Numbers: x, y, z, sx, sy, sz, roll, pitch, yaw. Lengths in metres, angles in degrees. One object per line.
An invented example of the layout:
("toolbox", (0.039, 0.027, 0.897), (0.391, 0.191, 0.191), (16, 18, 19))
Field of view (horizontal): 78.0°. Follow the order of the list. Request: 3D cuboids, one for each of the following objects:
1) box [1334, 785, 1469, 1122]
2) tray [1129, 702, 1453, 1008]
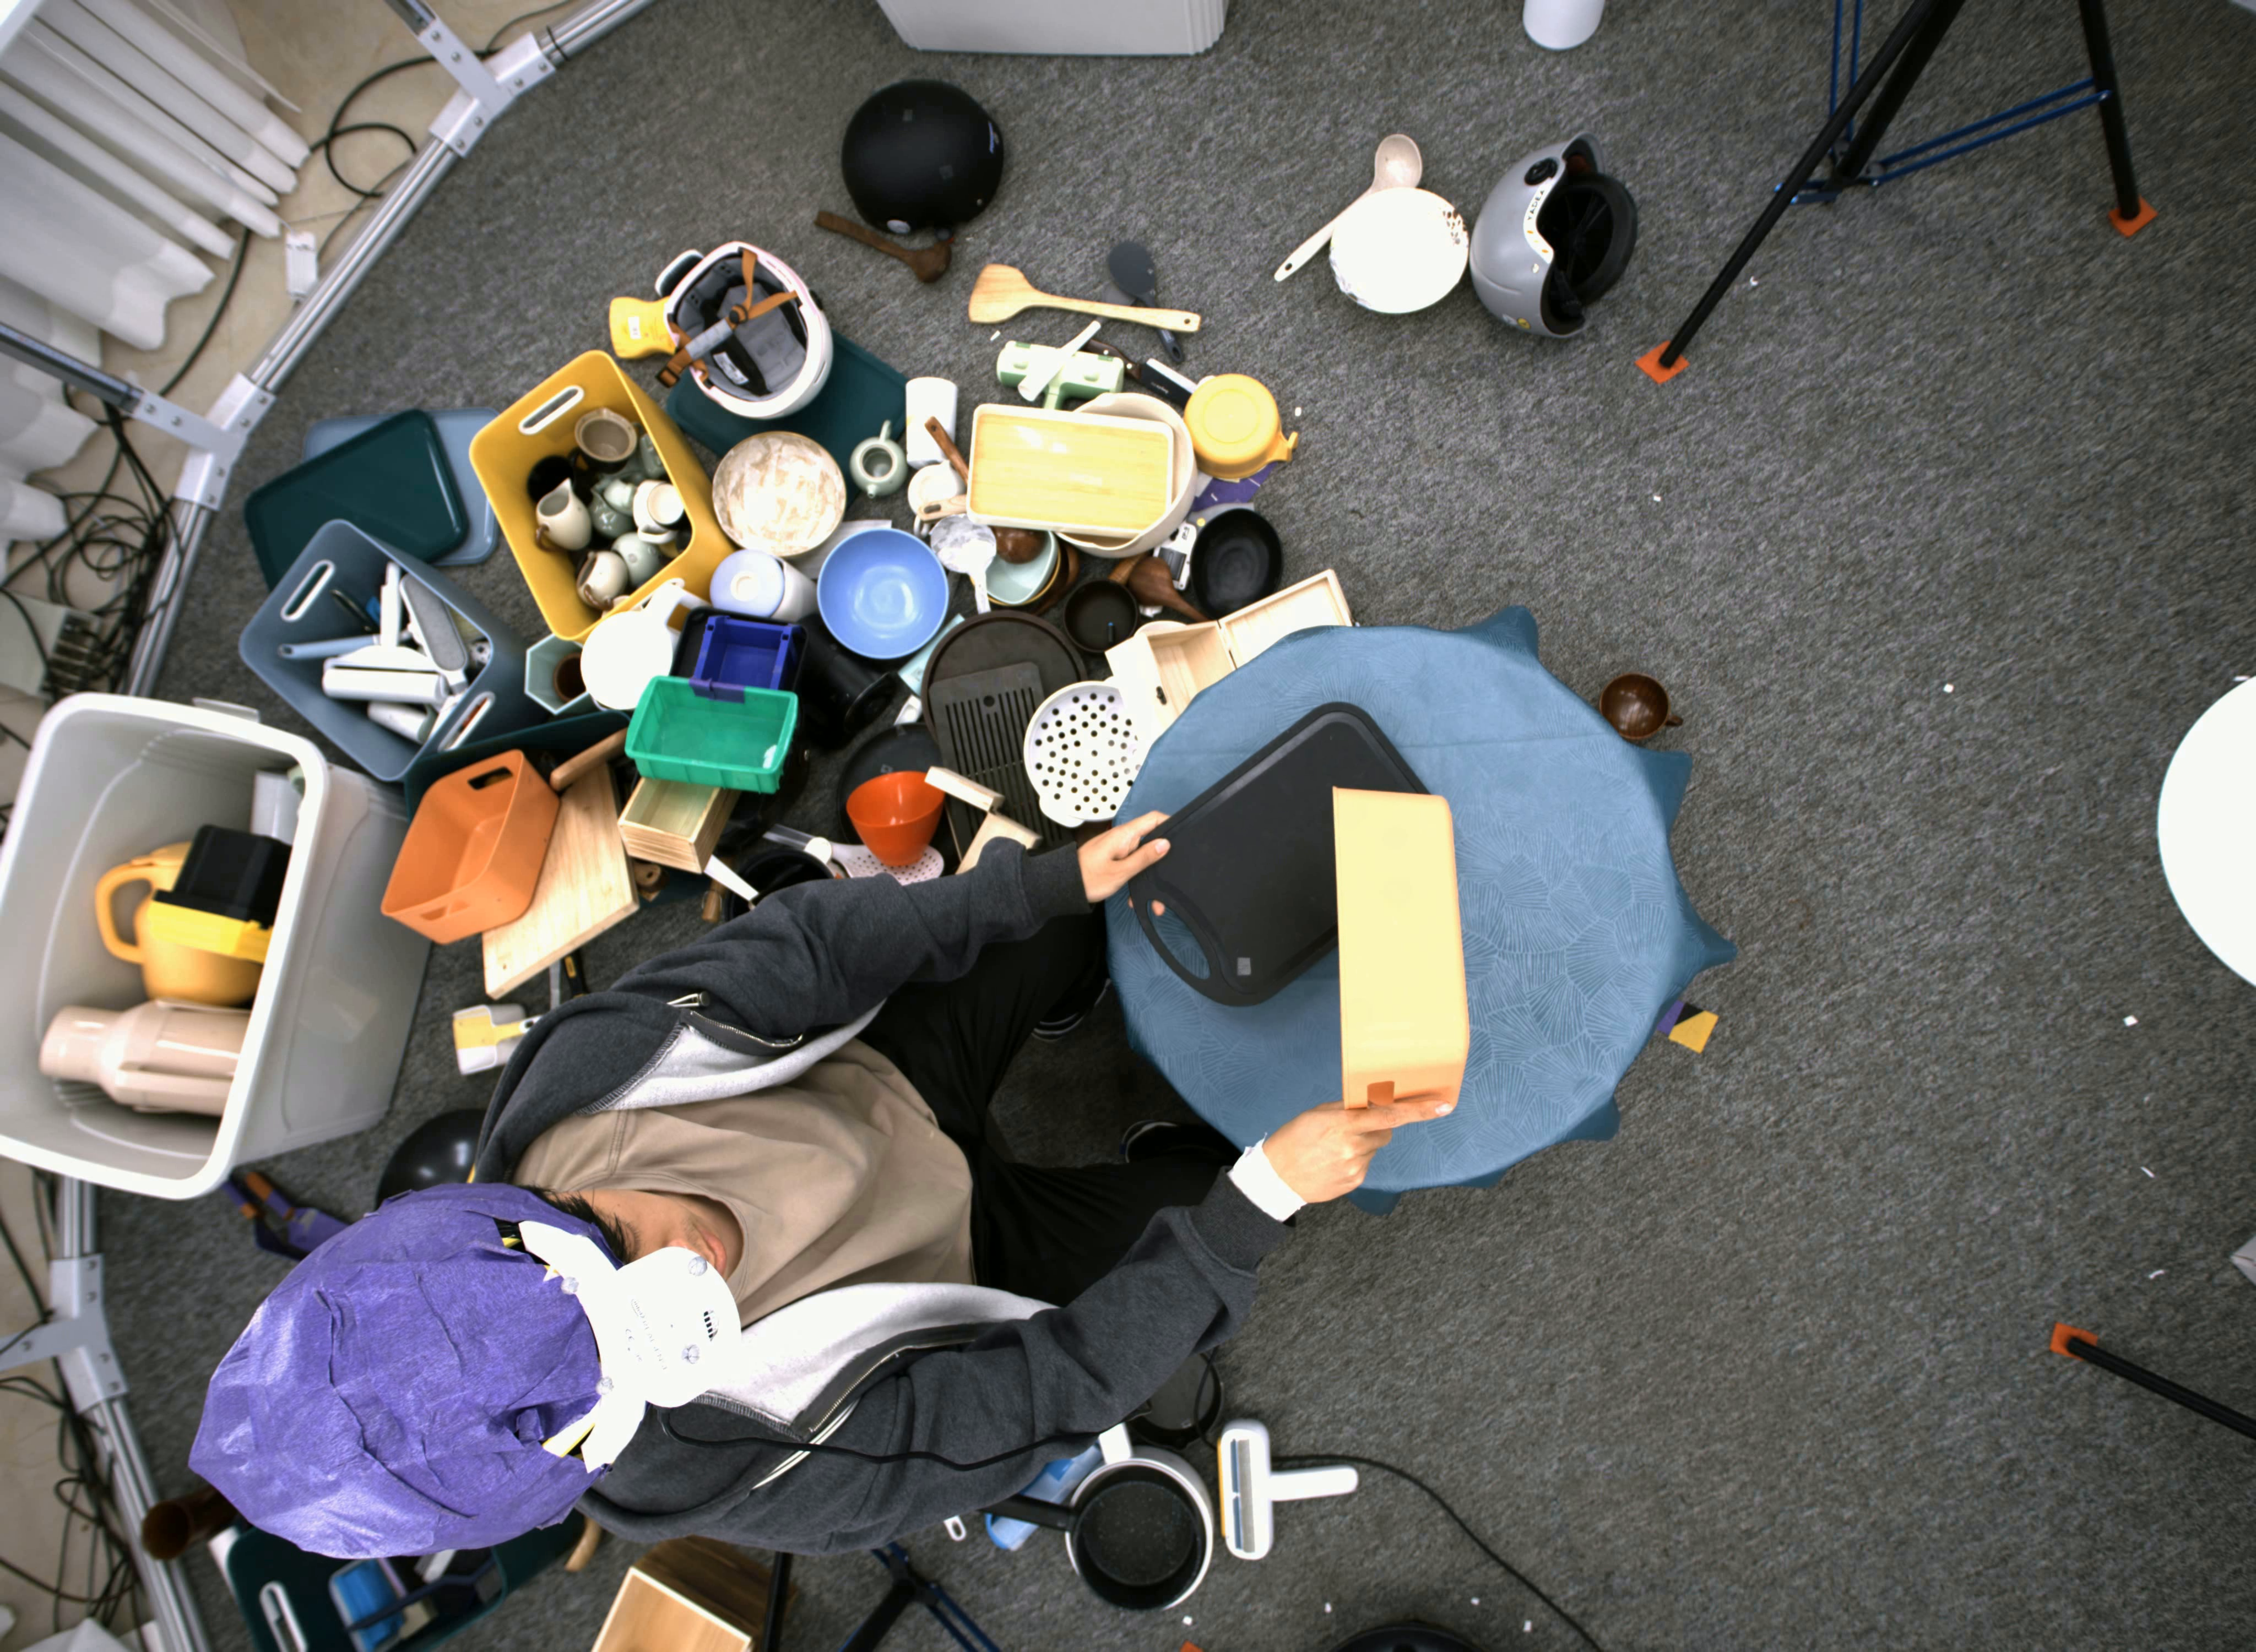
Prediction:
("box", (0.236, 0.112, 1.214), (0.103, 0.203, 0.267), (-2, 61, 8))
("tray", (0.163, 0.034, 1.419), (0.325, 0.010, 0.211), (-37, 88, -1))
